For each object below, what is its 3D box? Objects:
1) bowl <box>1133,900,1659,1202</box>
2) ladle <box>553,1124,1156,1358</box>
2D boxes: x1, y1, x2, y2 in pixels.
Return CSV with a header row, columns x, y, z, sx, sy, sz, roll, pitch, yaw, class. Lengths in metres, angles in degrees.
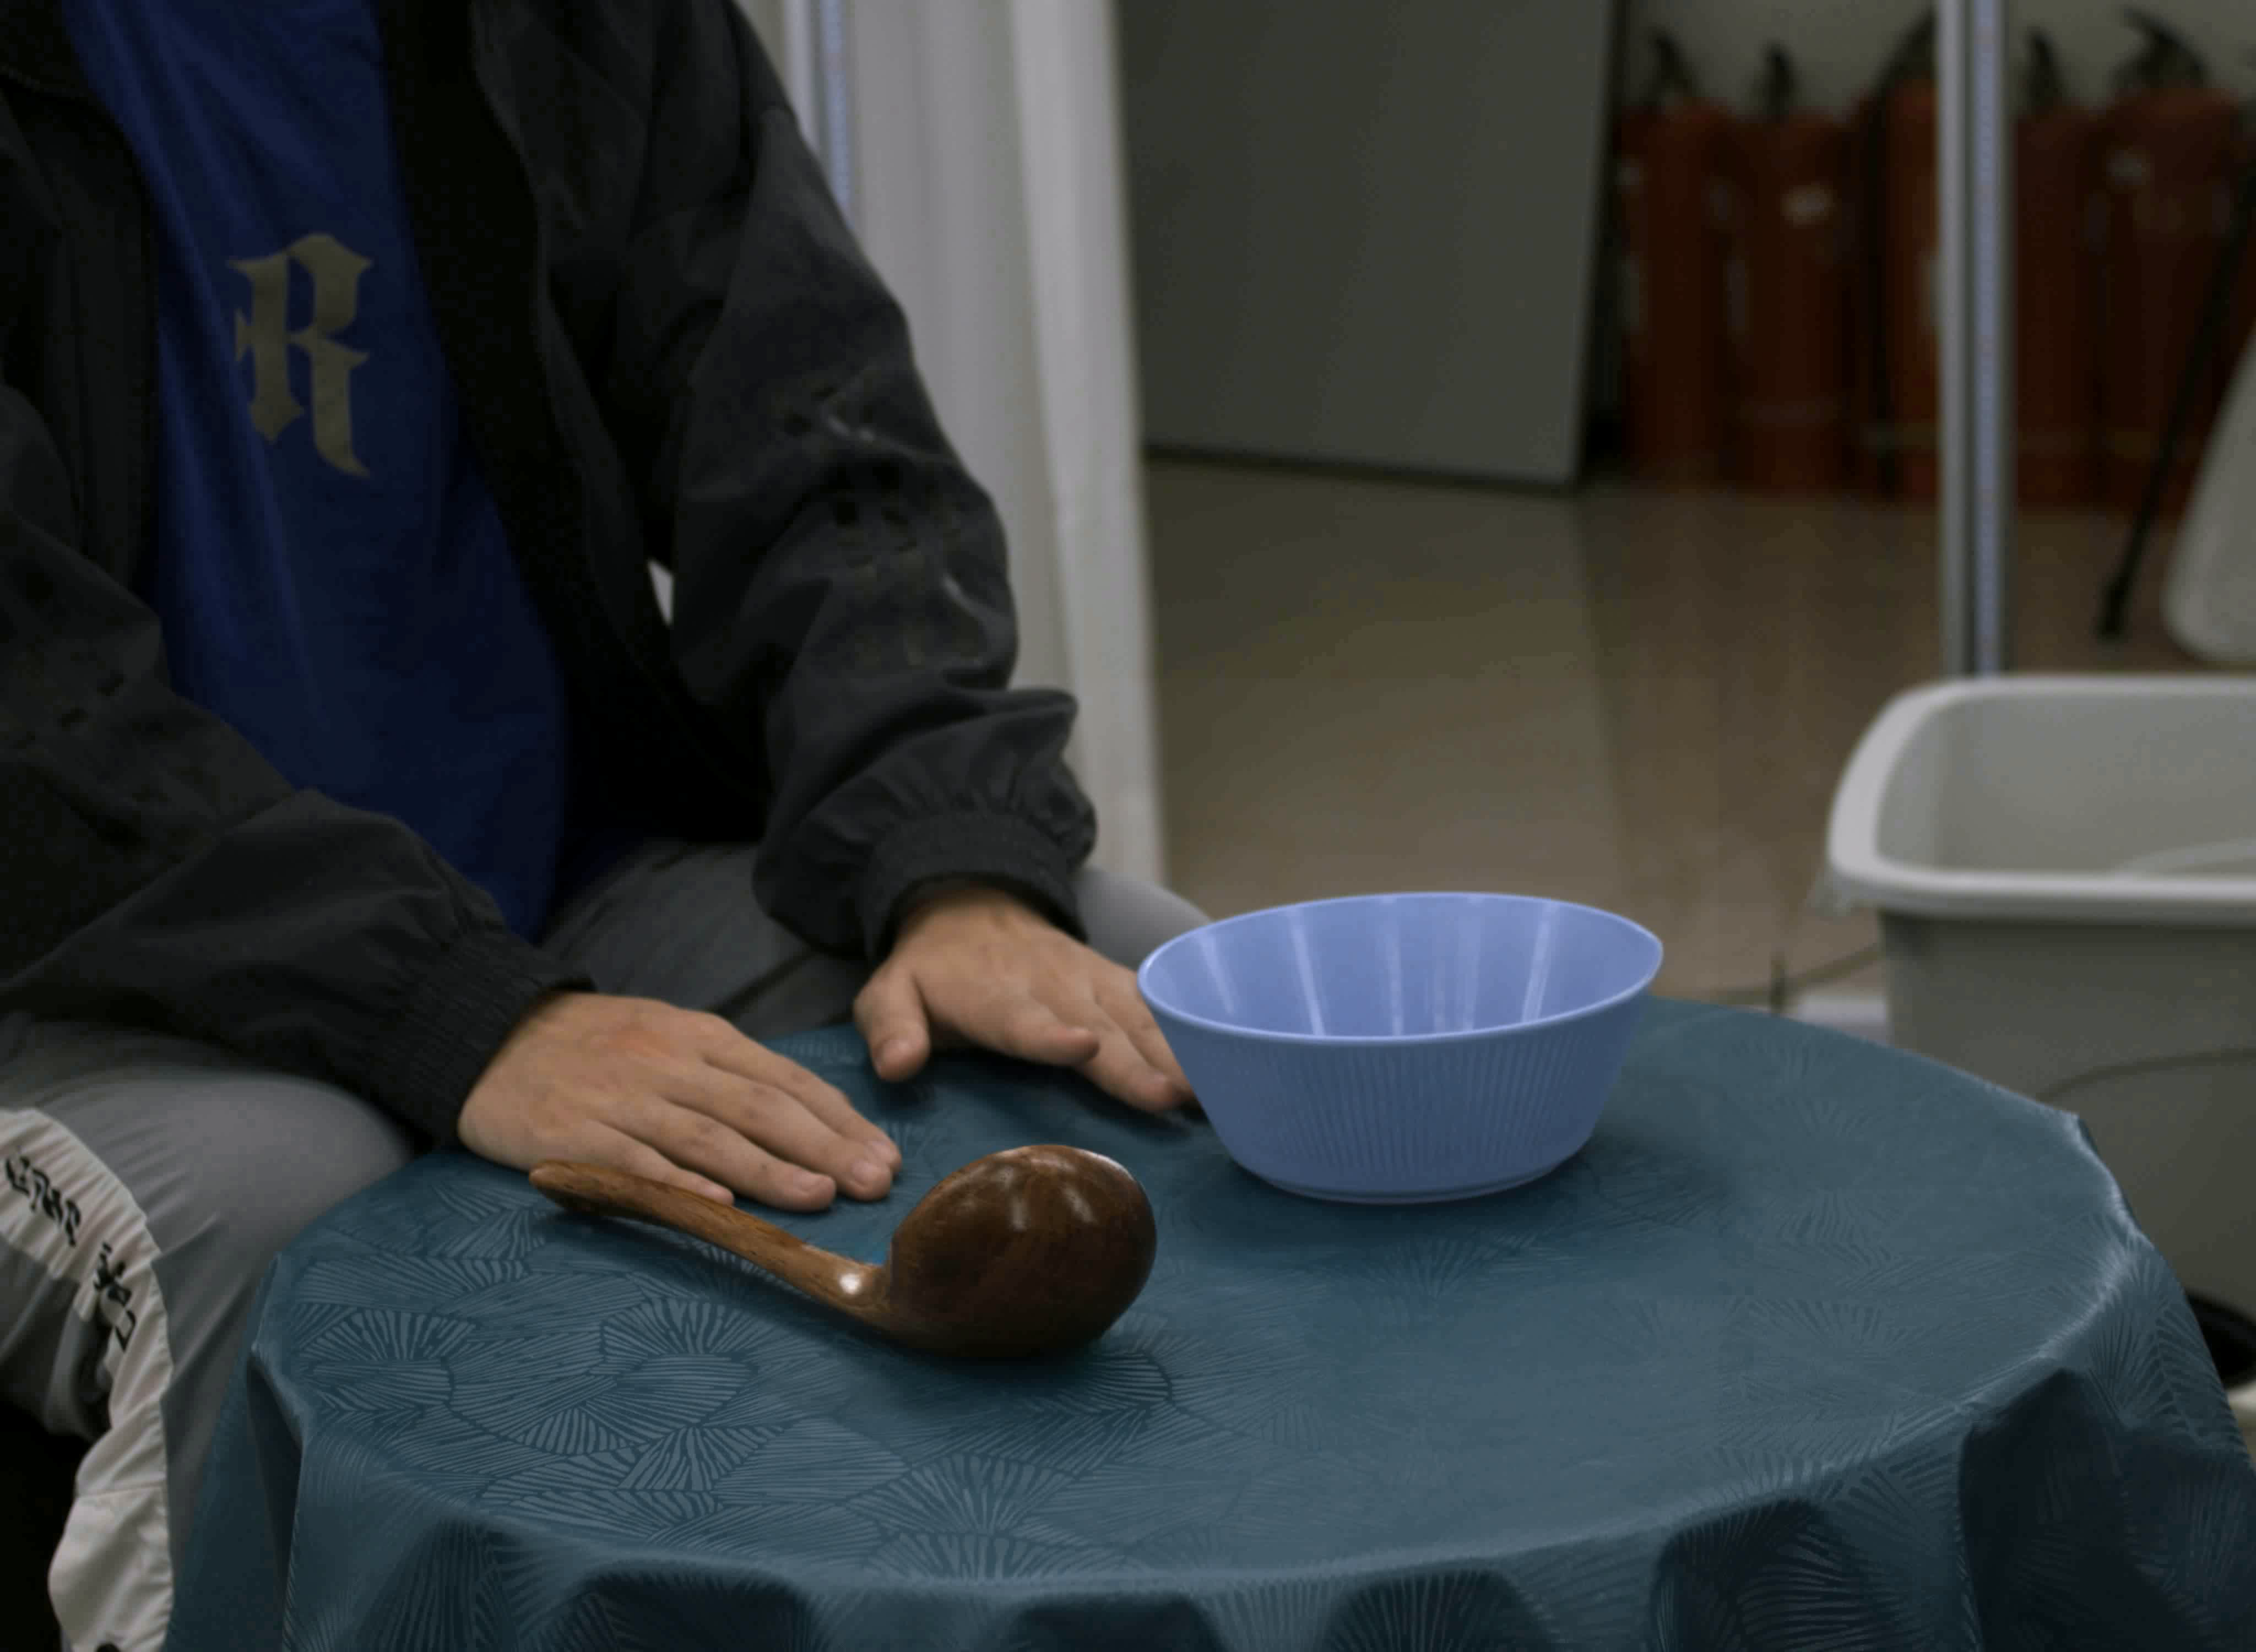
x,y,z,sx,sy,sz,roll,pitch,yaw,class
0.090,0.076,1.783,0.174,0.071,0.176,-4,13,0,bowl
-0.092,0.112,1.689,0.081,0.077,0.277,42,-16,-32,ladle
